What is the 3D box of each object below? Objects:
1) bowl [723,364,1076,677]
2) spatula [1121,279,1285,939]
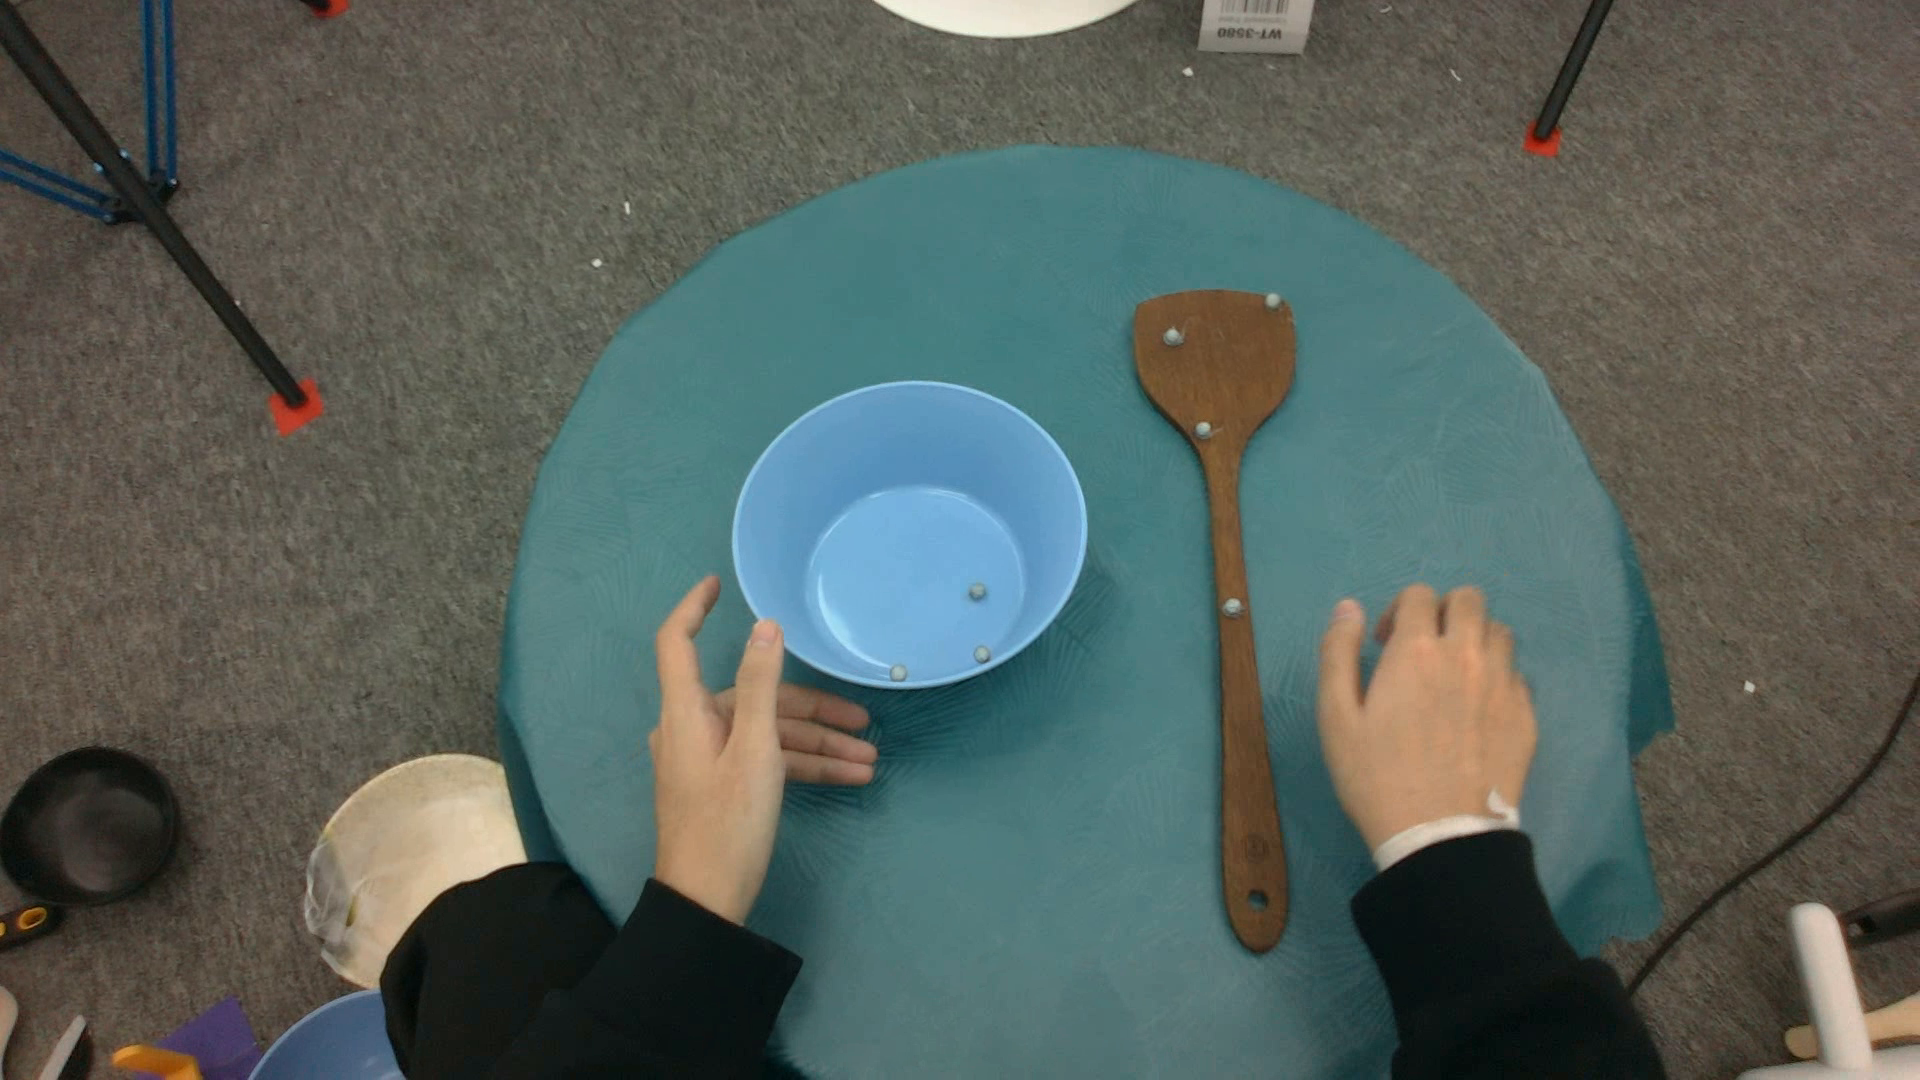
[{"bbox_3d":[-0.029,0.000,0.709,0.176,0.070,0.177,0,62,0],"label":"bowl"},{"bbox_3d":[0.140,0.014,0.731,0.096,0.016,0.387,0,61,1],"label":"spatula"}]
